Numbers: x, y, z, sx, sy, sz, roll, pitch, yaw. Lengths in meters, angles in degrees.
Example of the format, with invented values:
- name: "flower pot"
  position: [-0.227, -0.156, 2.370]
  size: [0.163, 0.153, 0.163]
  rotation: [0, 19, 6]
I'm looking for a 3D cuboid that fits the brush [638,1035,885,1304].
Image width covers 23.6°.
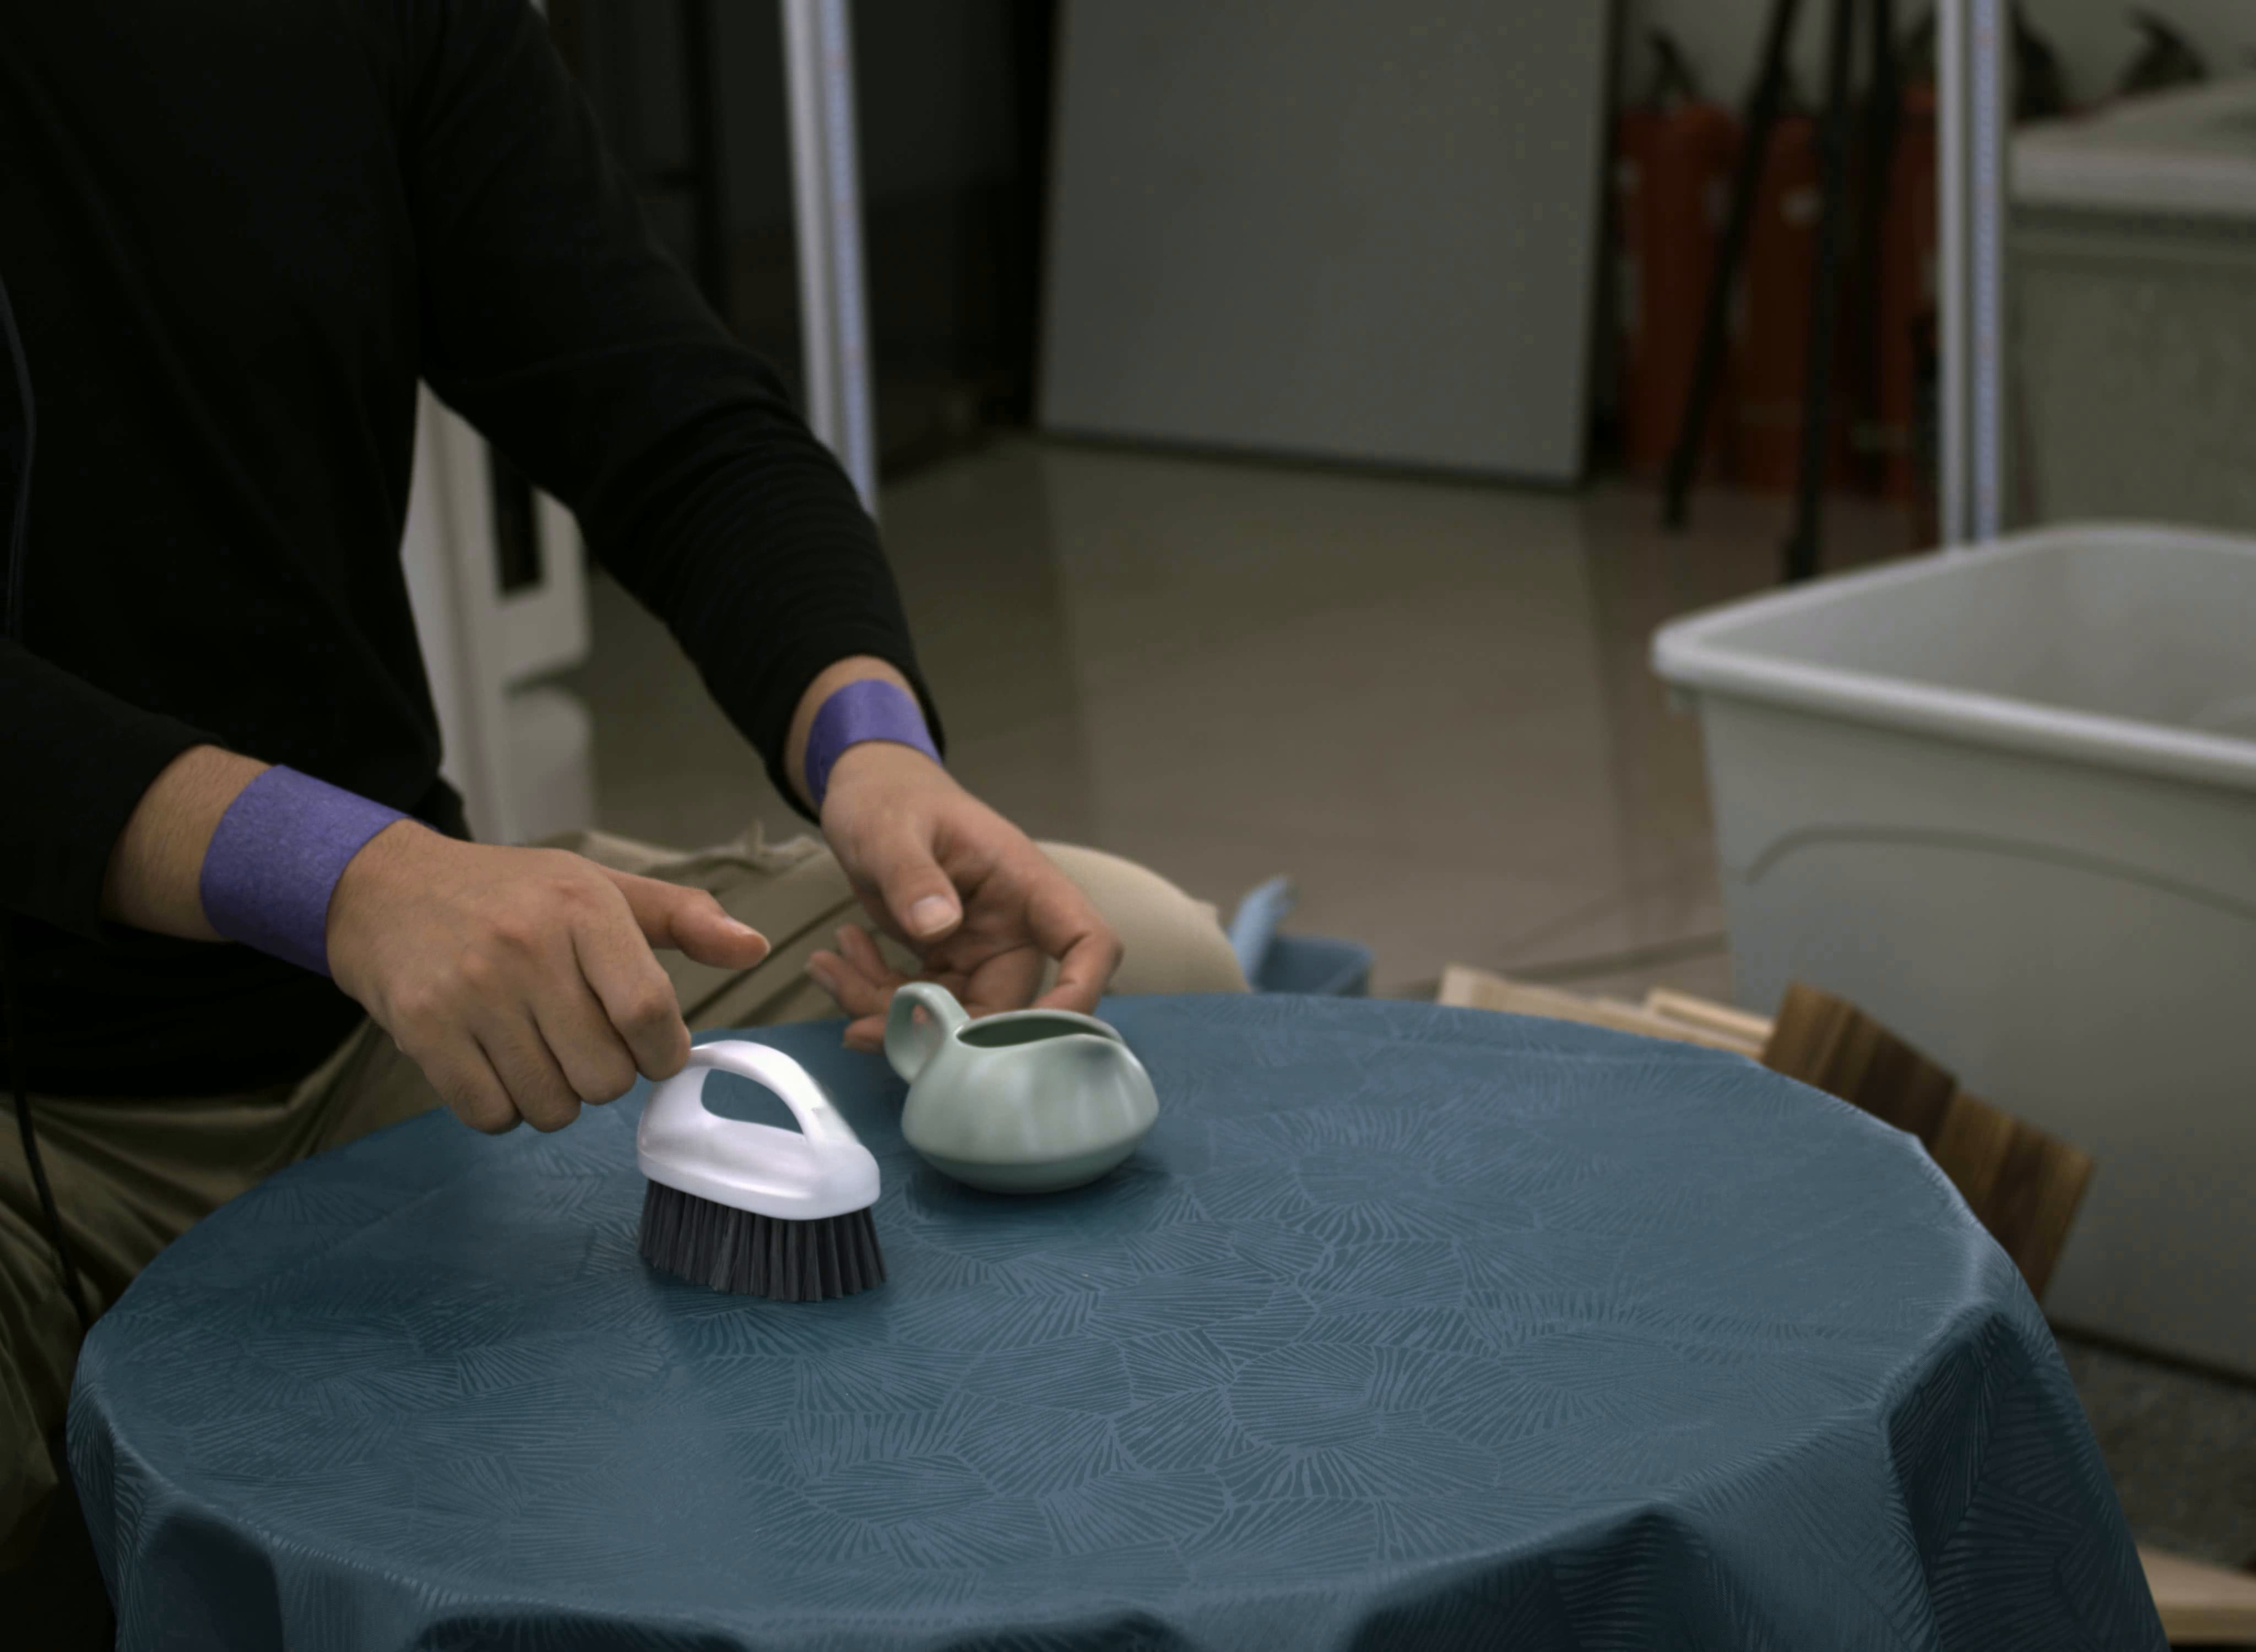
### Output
- name: "brush"
  position: [-0.118, 0.104, 1.714]
  size: [0.049, 0.073, 0.100]
  rotation: [-13, 17, -37]

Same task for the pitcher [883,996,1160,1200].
- name: "pitcher"
  position: [-0.041, 0.089, 1.795]
  size: [0.109, 0.061, 0.084]
  rotation: [4, 15, 42]
